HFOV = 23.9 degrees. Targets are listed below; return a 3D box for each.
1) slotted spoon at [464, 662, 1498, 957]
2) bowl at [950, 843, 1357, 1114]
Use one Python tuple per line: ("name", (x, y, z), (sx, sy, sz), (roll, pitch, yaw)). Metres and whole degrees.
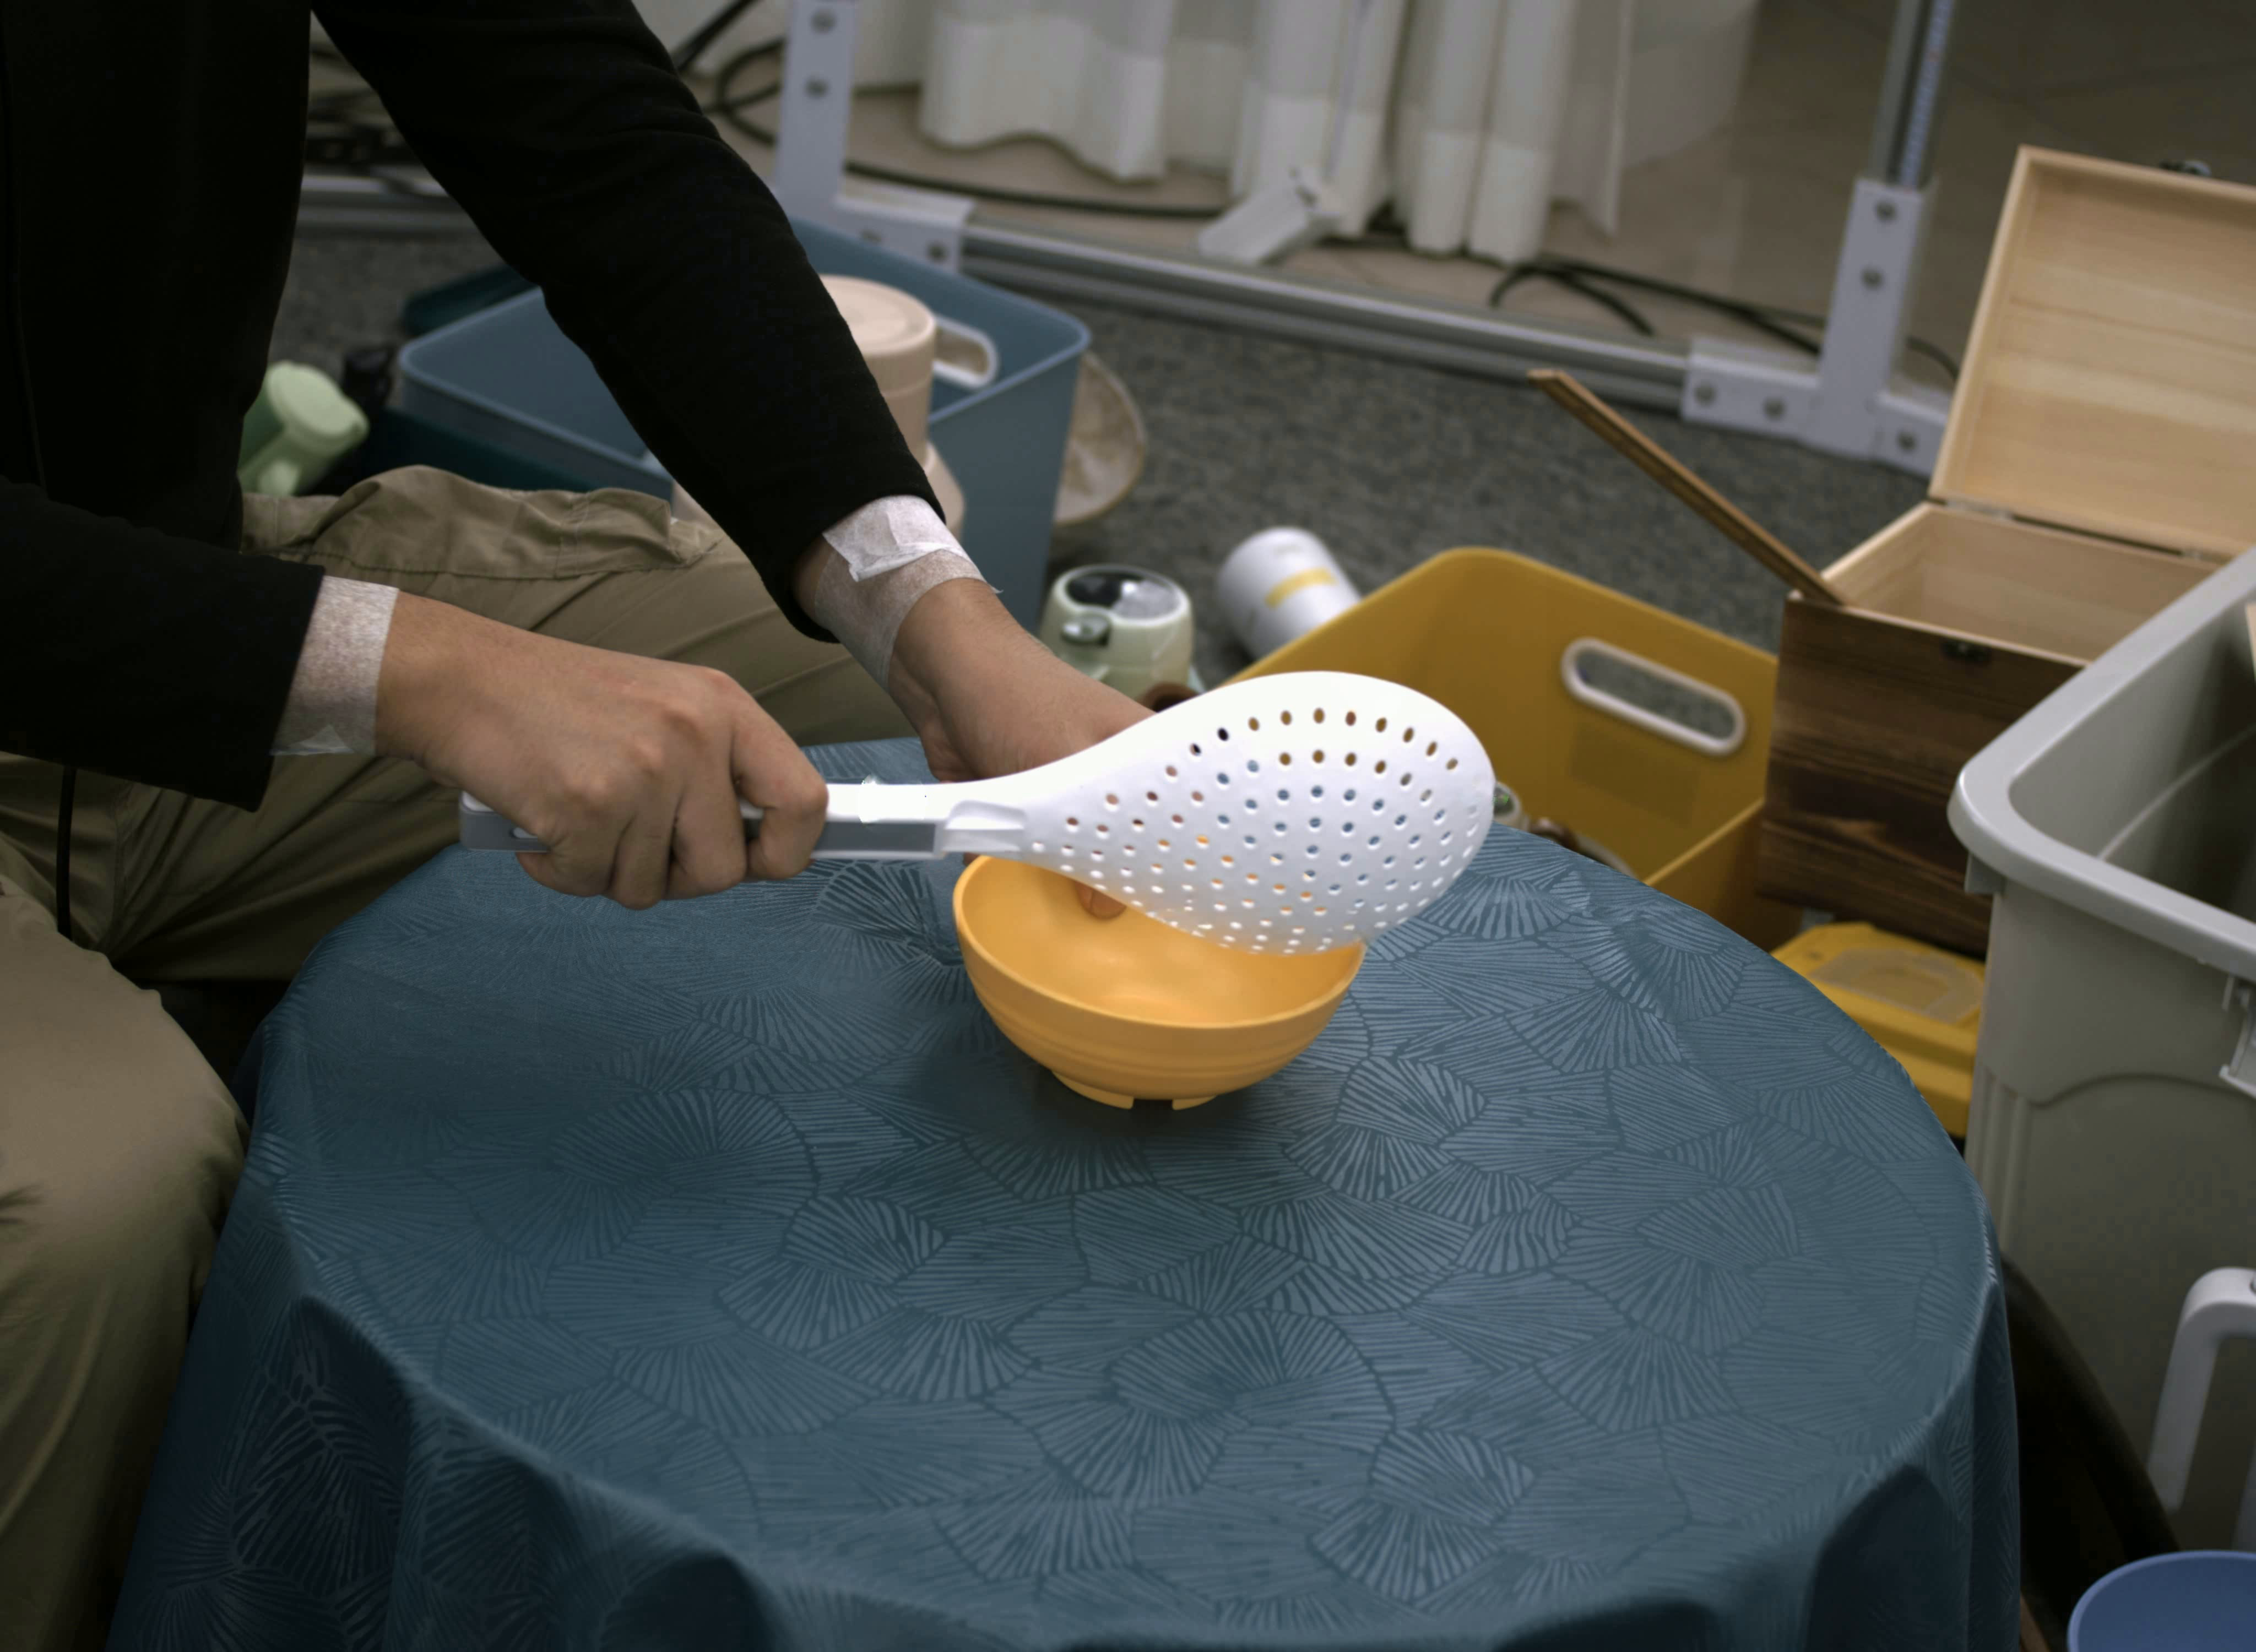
("slotted spoon", (-0.048, -0.003, 1.795), (0.348, 0.135, 0.046), (4, 45, -3))
("bowl", (0.004, 0.059, 1.866), (0.145, 0.060, 0.146), (8, 26, -4))
